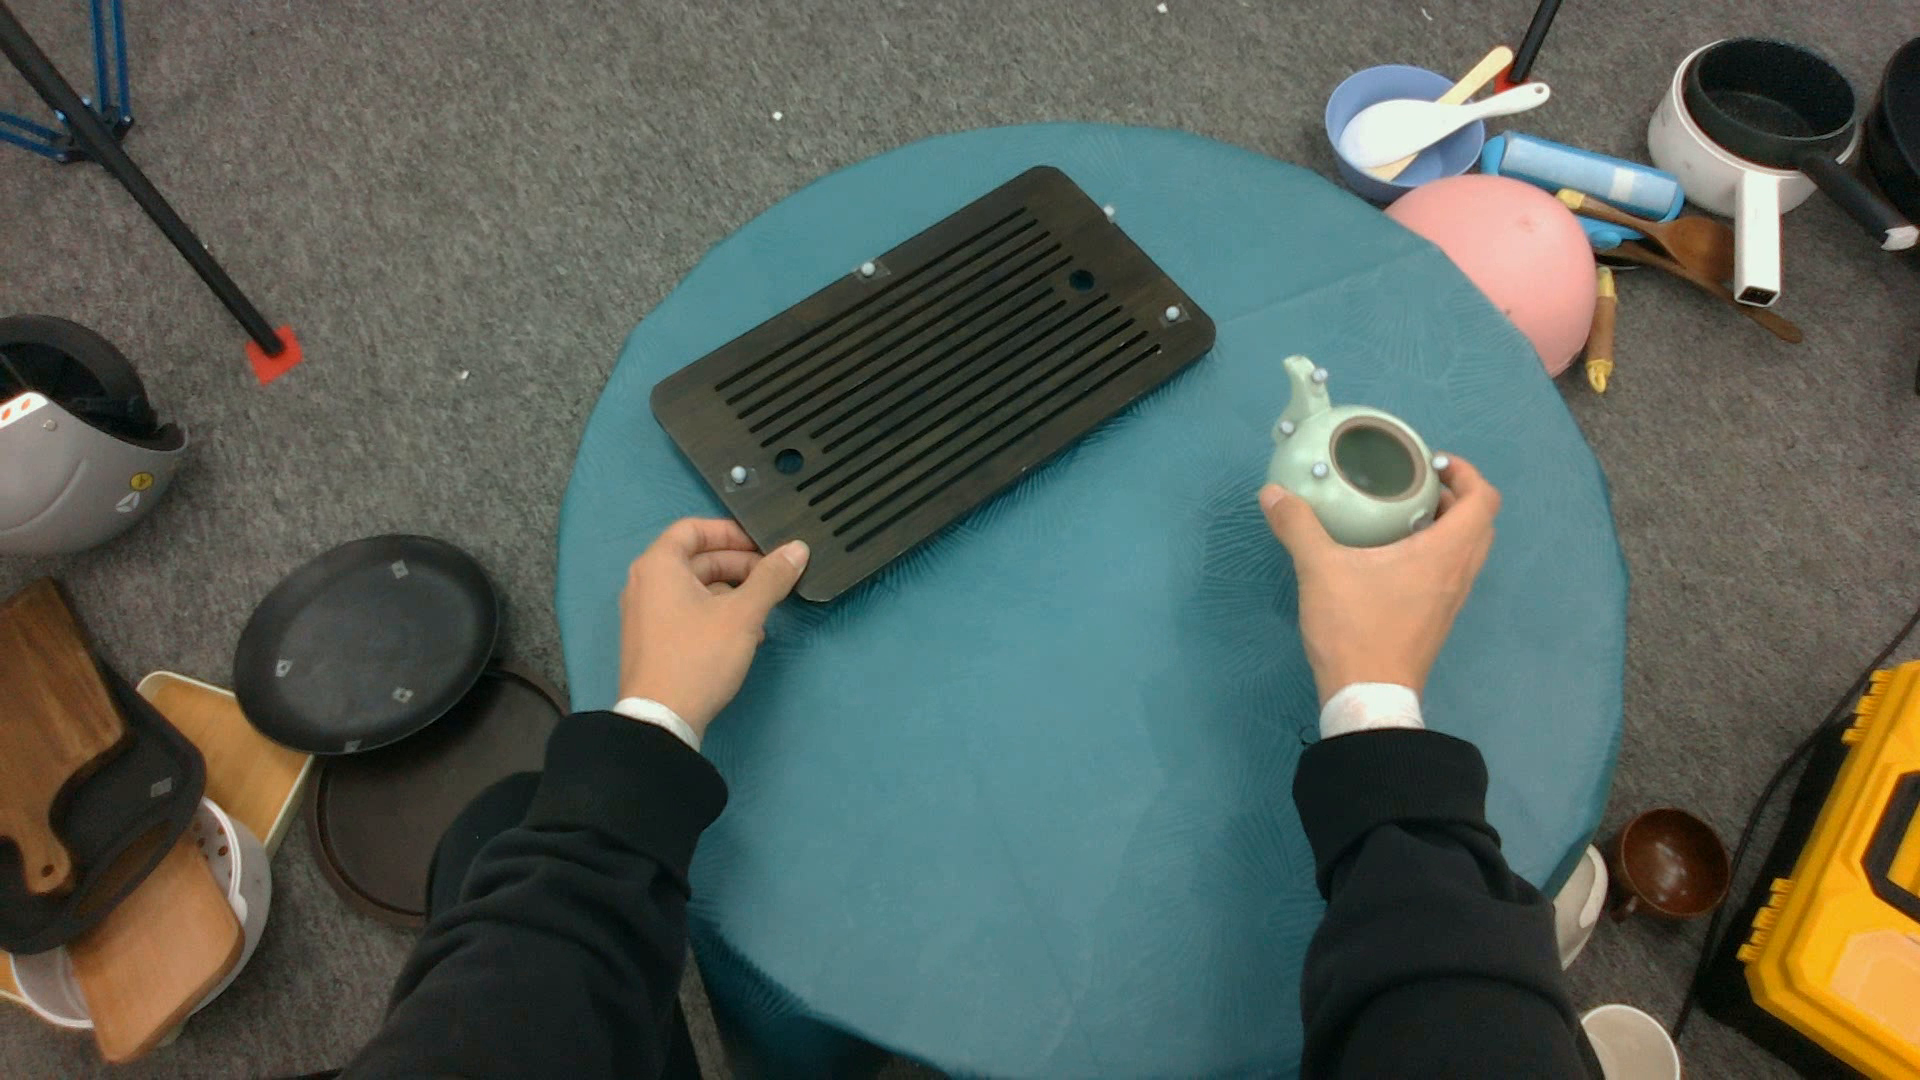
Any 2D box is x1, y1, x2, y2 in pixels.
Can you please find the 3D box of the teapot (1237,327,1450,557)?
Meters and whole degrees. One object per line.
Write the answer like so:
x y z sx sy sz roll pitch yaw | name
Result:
0.190 -0.043 0.724 0.088 0.074 0.144 -28 68 -27 | teapot

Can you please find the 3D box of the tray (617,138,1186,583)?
-0.029 -0.114 0.804 0.307 0.018 0.170 -35 71 -19 | tray
